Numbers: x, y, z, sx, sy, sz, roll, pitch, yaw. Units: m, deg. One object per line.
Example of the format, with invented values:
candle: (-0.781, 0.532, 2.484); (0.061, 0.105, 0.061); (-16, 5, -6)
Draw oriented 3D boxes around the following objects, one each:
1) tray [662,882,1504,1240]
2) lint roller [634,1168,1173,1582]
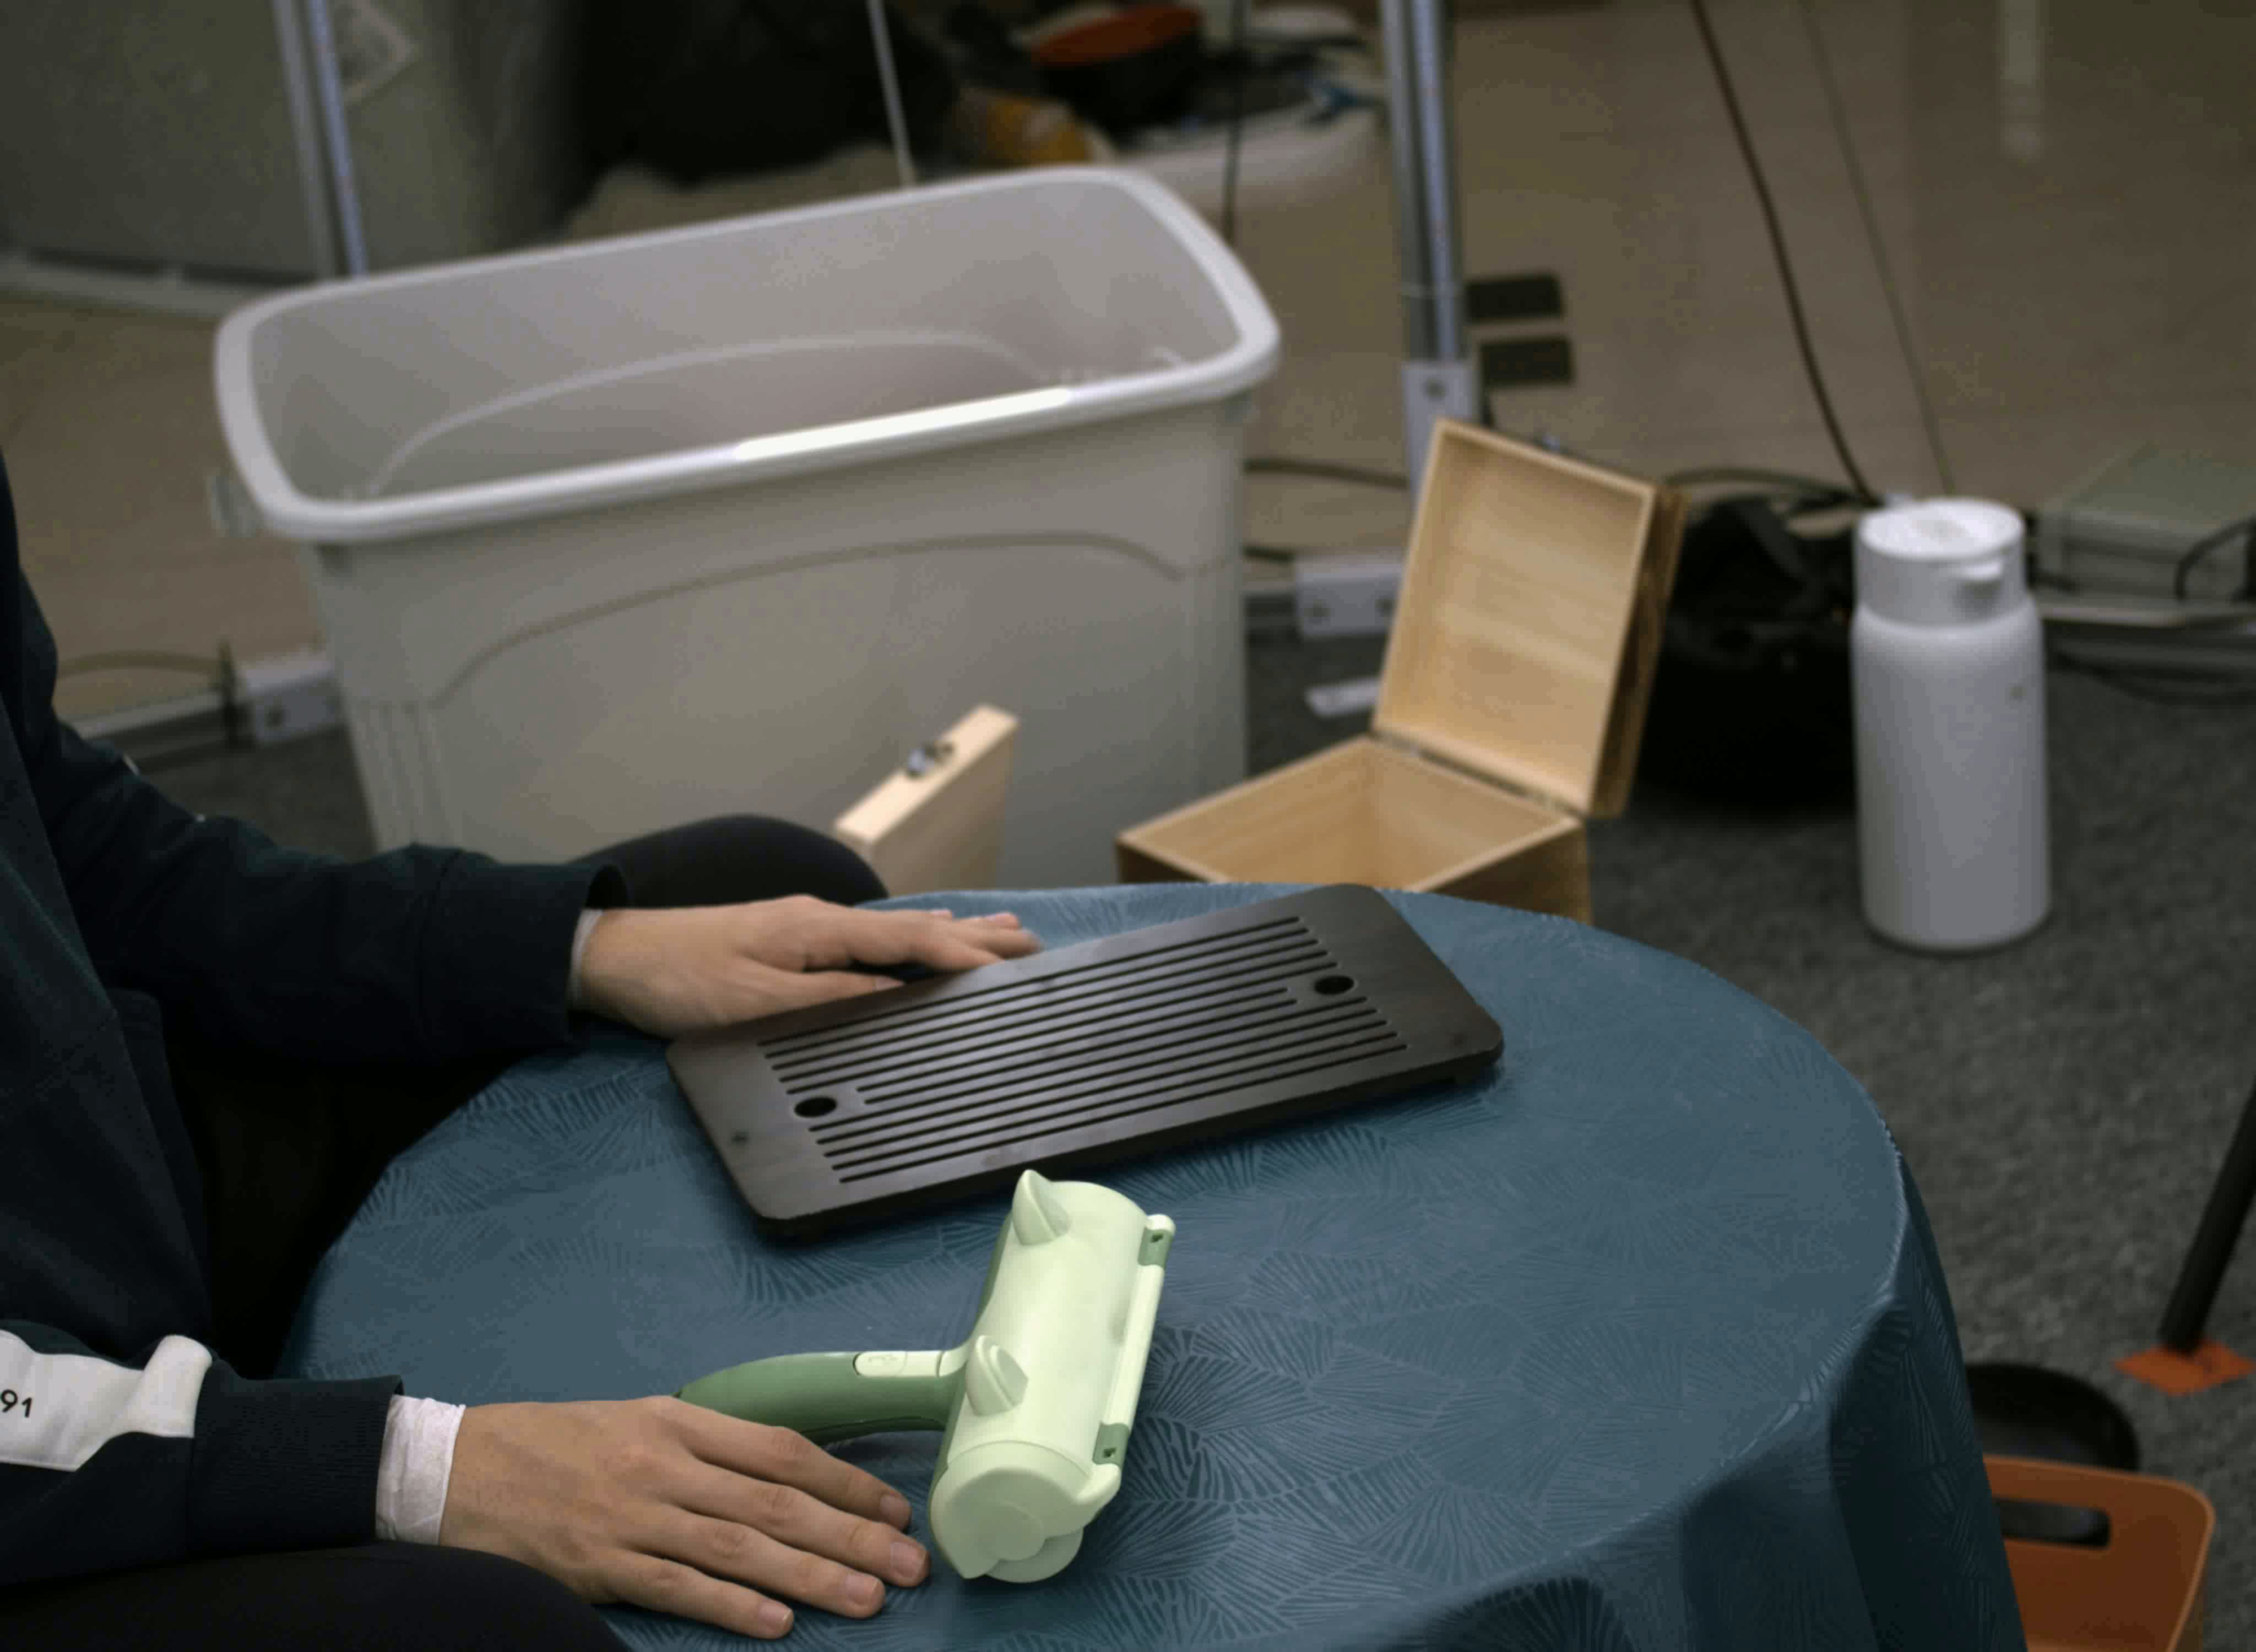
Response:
tray: (-0.020, 0.091, 2.229); (0.305, 0.019, 0.168); (-13, 26, -13)
lint roller: (-0.084, 0.183, 1.974); (0.183, 0.083, 0.195); (1, 26, 7)
